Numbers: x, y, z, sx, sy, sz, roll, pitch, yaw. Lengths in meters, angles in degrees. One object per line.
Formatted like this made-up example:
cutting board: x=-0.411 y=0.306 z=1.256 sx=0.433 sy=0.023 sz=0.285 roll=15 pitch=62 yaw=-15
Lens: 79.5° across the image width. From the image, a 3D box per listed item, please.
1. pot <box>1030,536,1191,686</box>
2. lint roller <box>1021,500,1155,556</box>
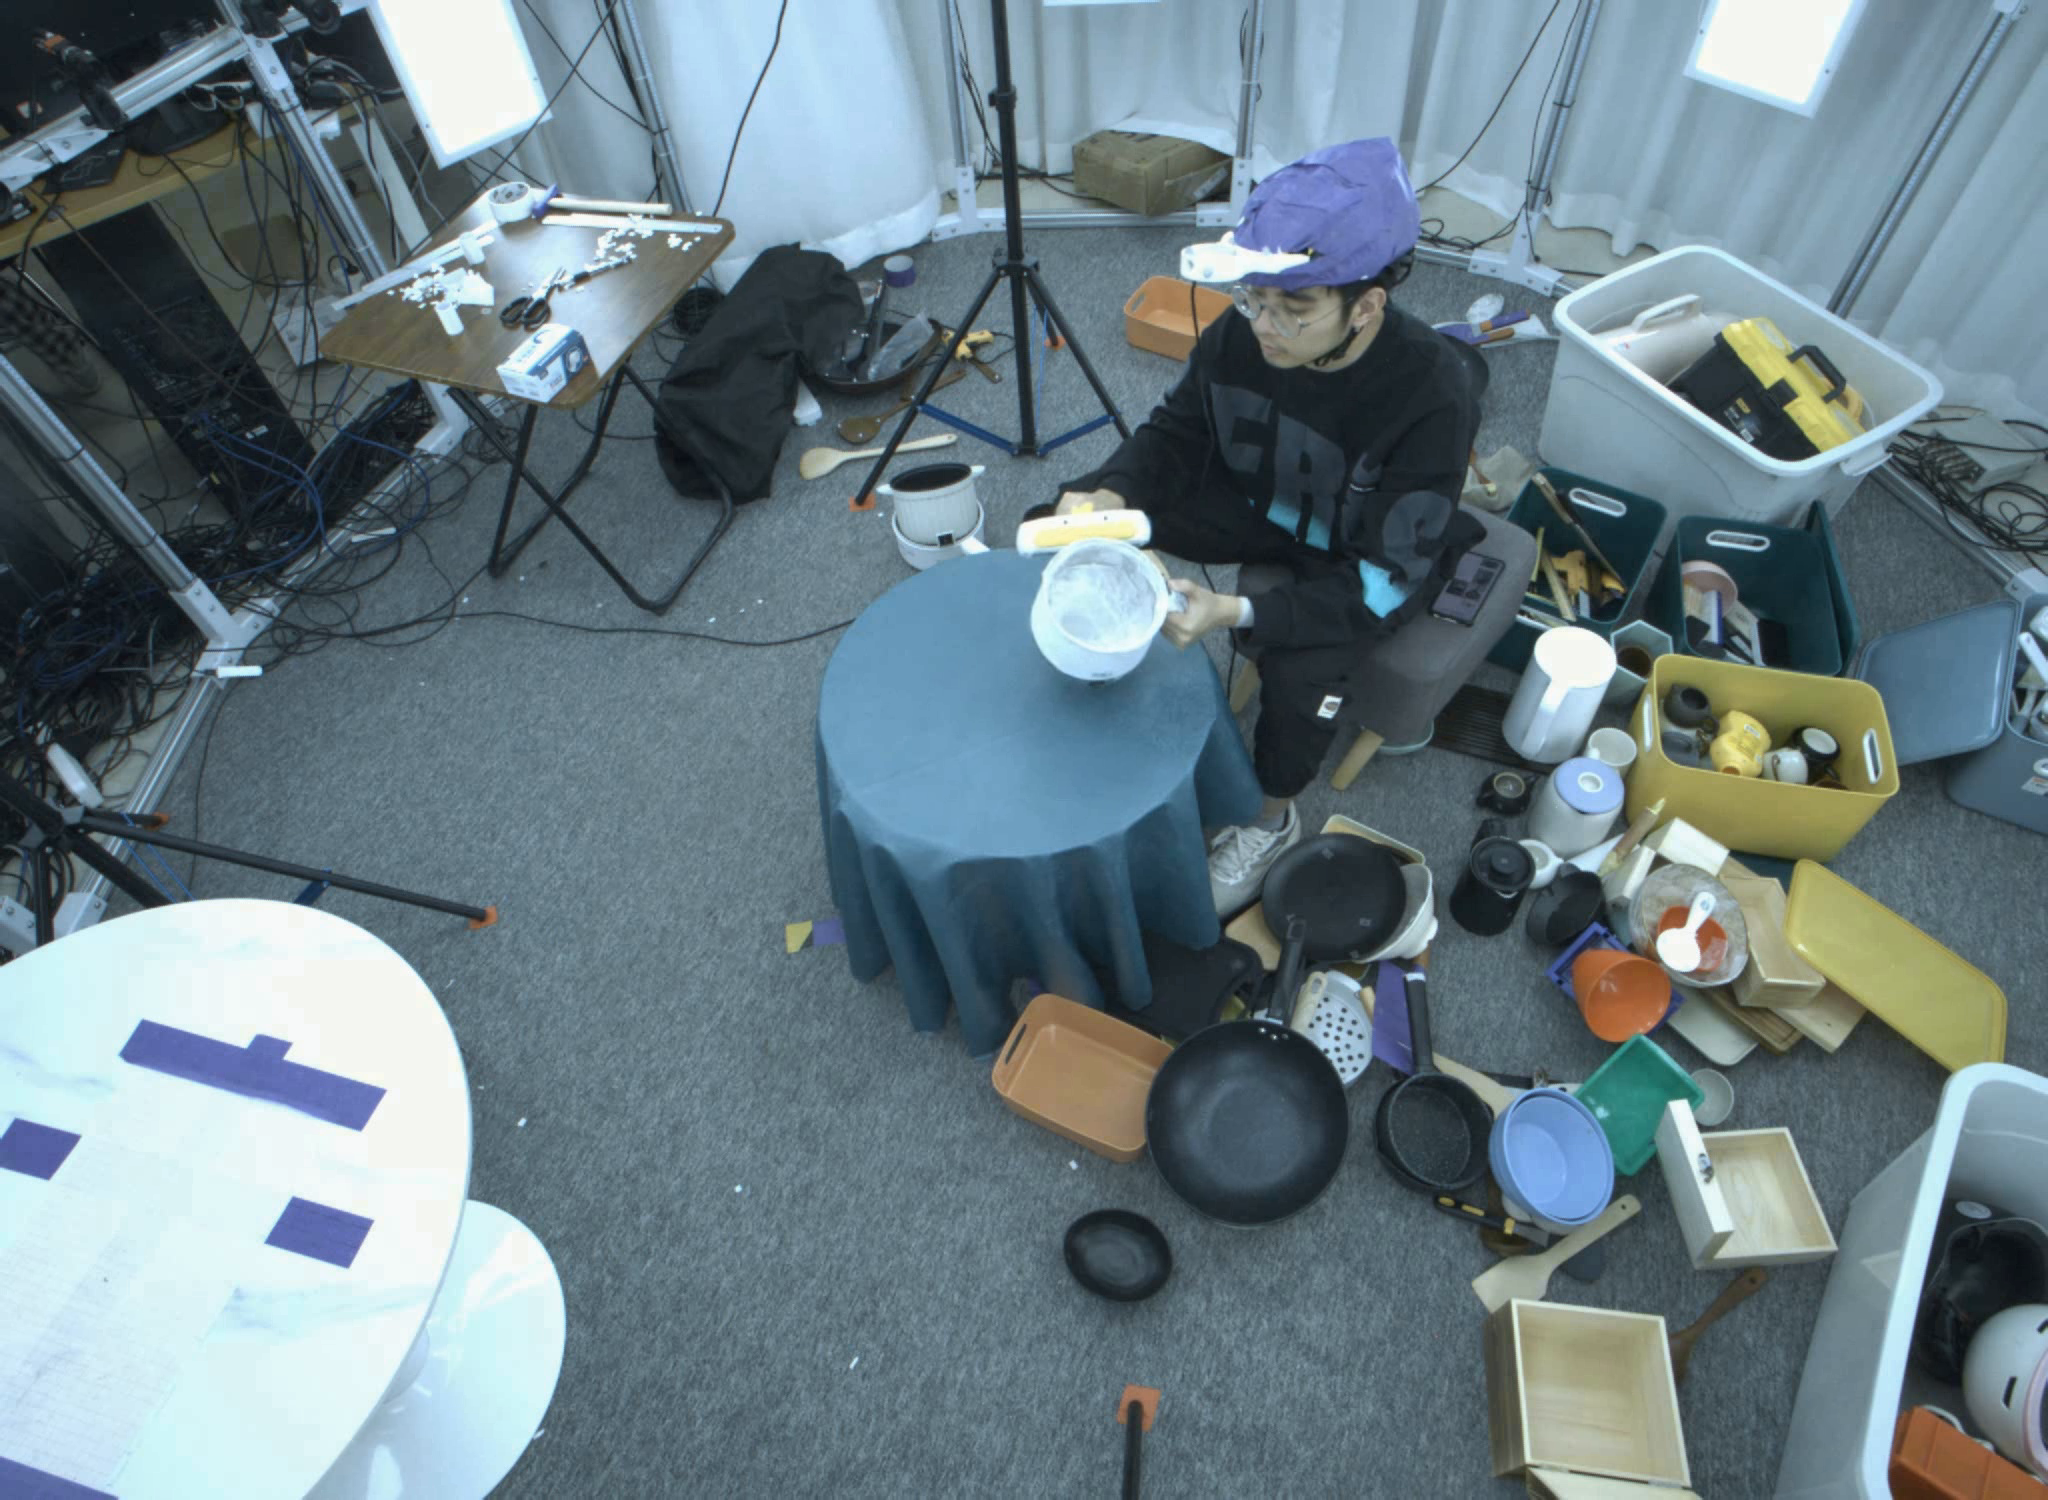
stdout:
pot: x=0.128 y=-0.195 z=1.741 sx=0.236 sy=0.136 sz=0.177 roll=-4 pitch=74 yaw=-11
lint roller: x=0.084 y=-0.328 z=1.810 sx=0.193 sy=0.190 sz=0.074 roll=-11 pitch=100 yaw=-5
